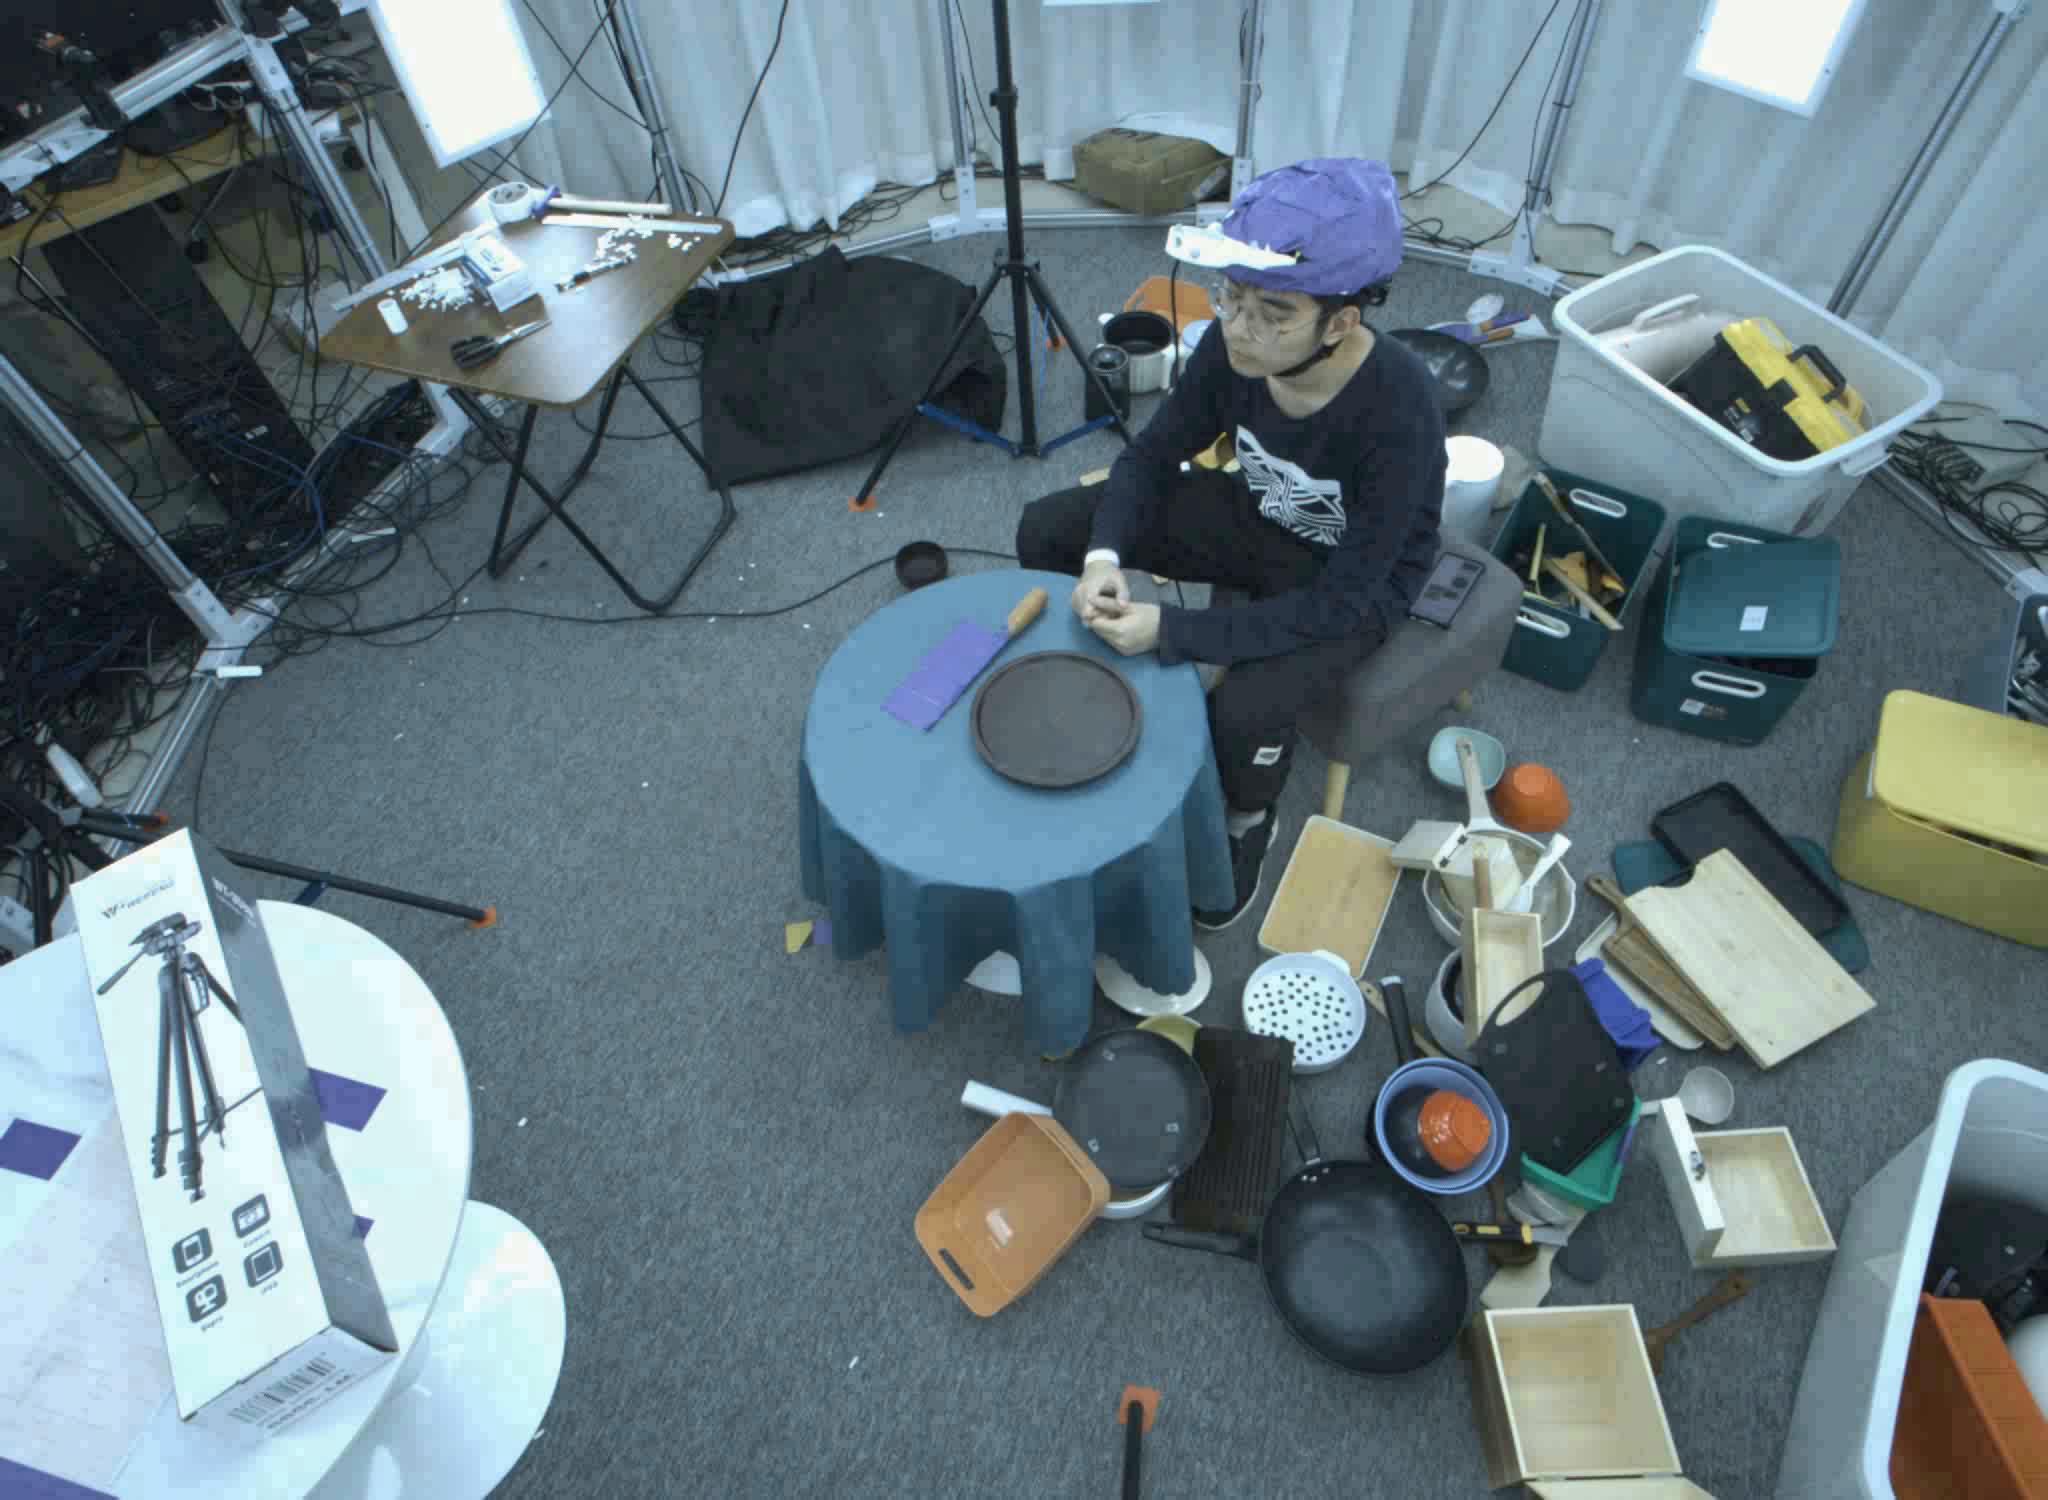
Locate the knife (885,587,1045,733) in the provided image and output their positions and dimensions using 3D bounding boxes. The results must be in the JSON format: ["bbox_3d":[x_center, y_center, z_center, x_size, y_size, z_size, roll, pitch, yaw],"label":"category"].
[{"bbox_3d":[-0.092,-0.155,1.892,0.102,0.032,0.316,29,61,20],"label":"knife"}]

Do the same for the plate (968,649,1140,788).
[{"bbox_3d":[0.044,-0.047,1.813,0.254,0.029,0.252,0,55,2],"label":"plate"}]
